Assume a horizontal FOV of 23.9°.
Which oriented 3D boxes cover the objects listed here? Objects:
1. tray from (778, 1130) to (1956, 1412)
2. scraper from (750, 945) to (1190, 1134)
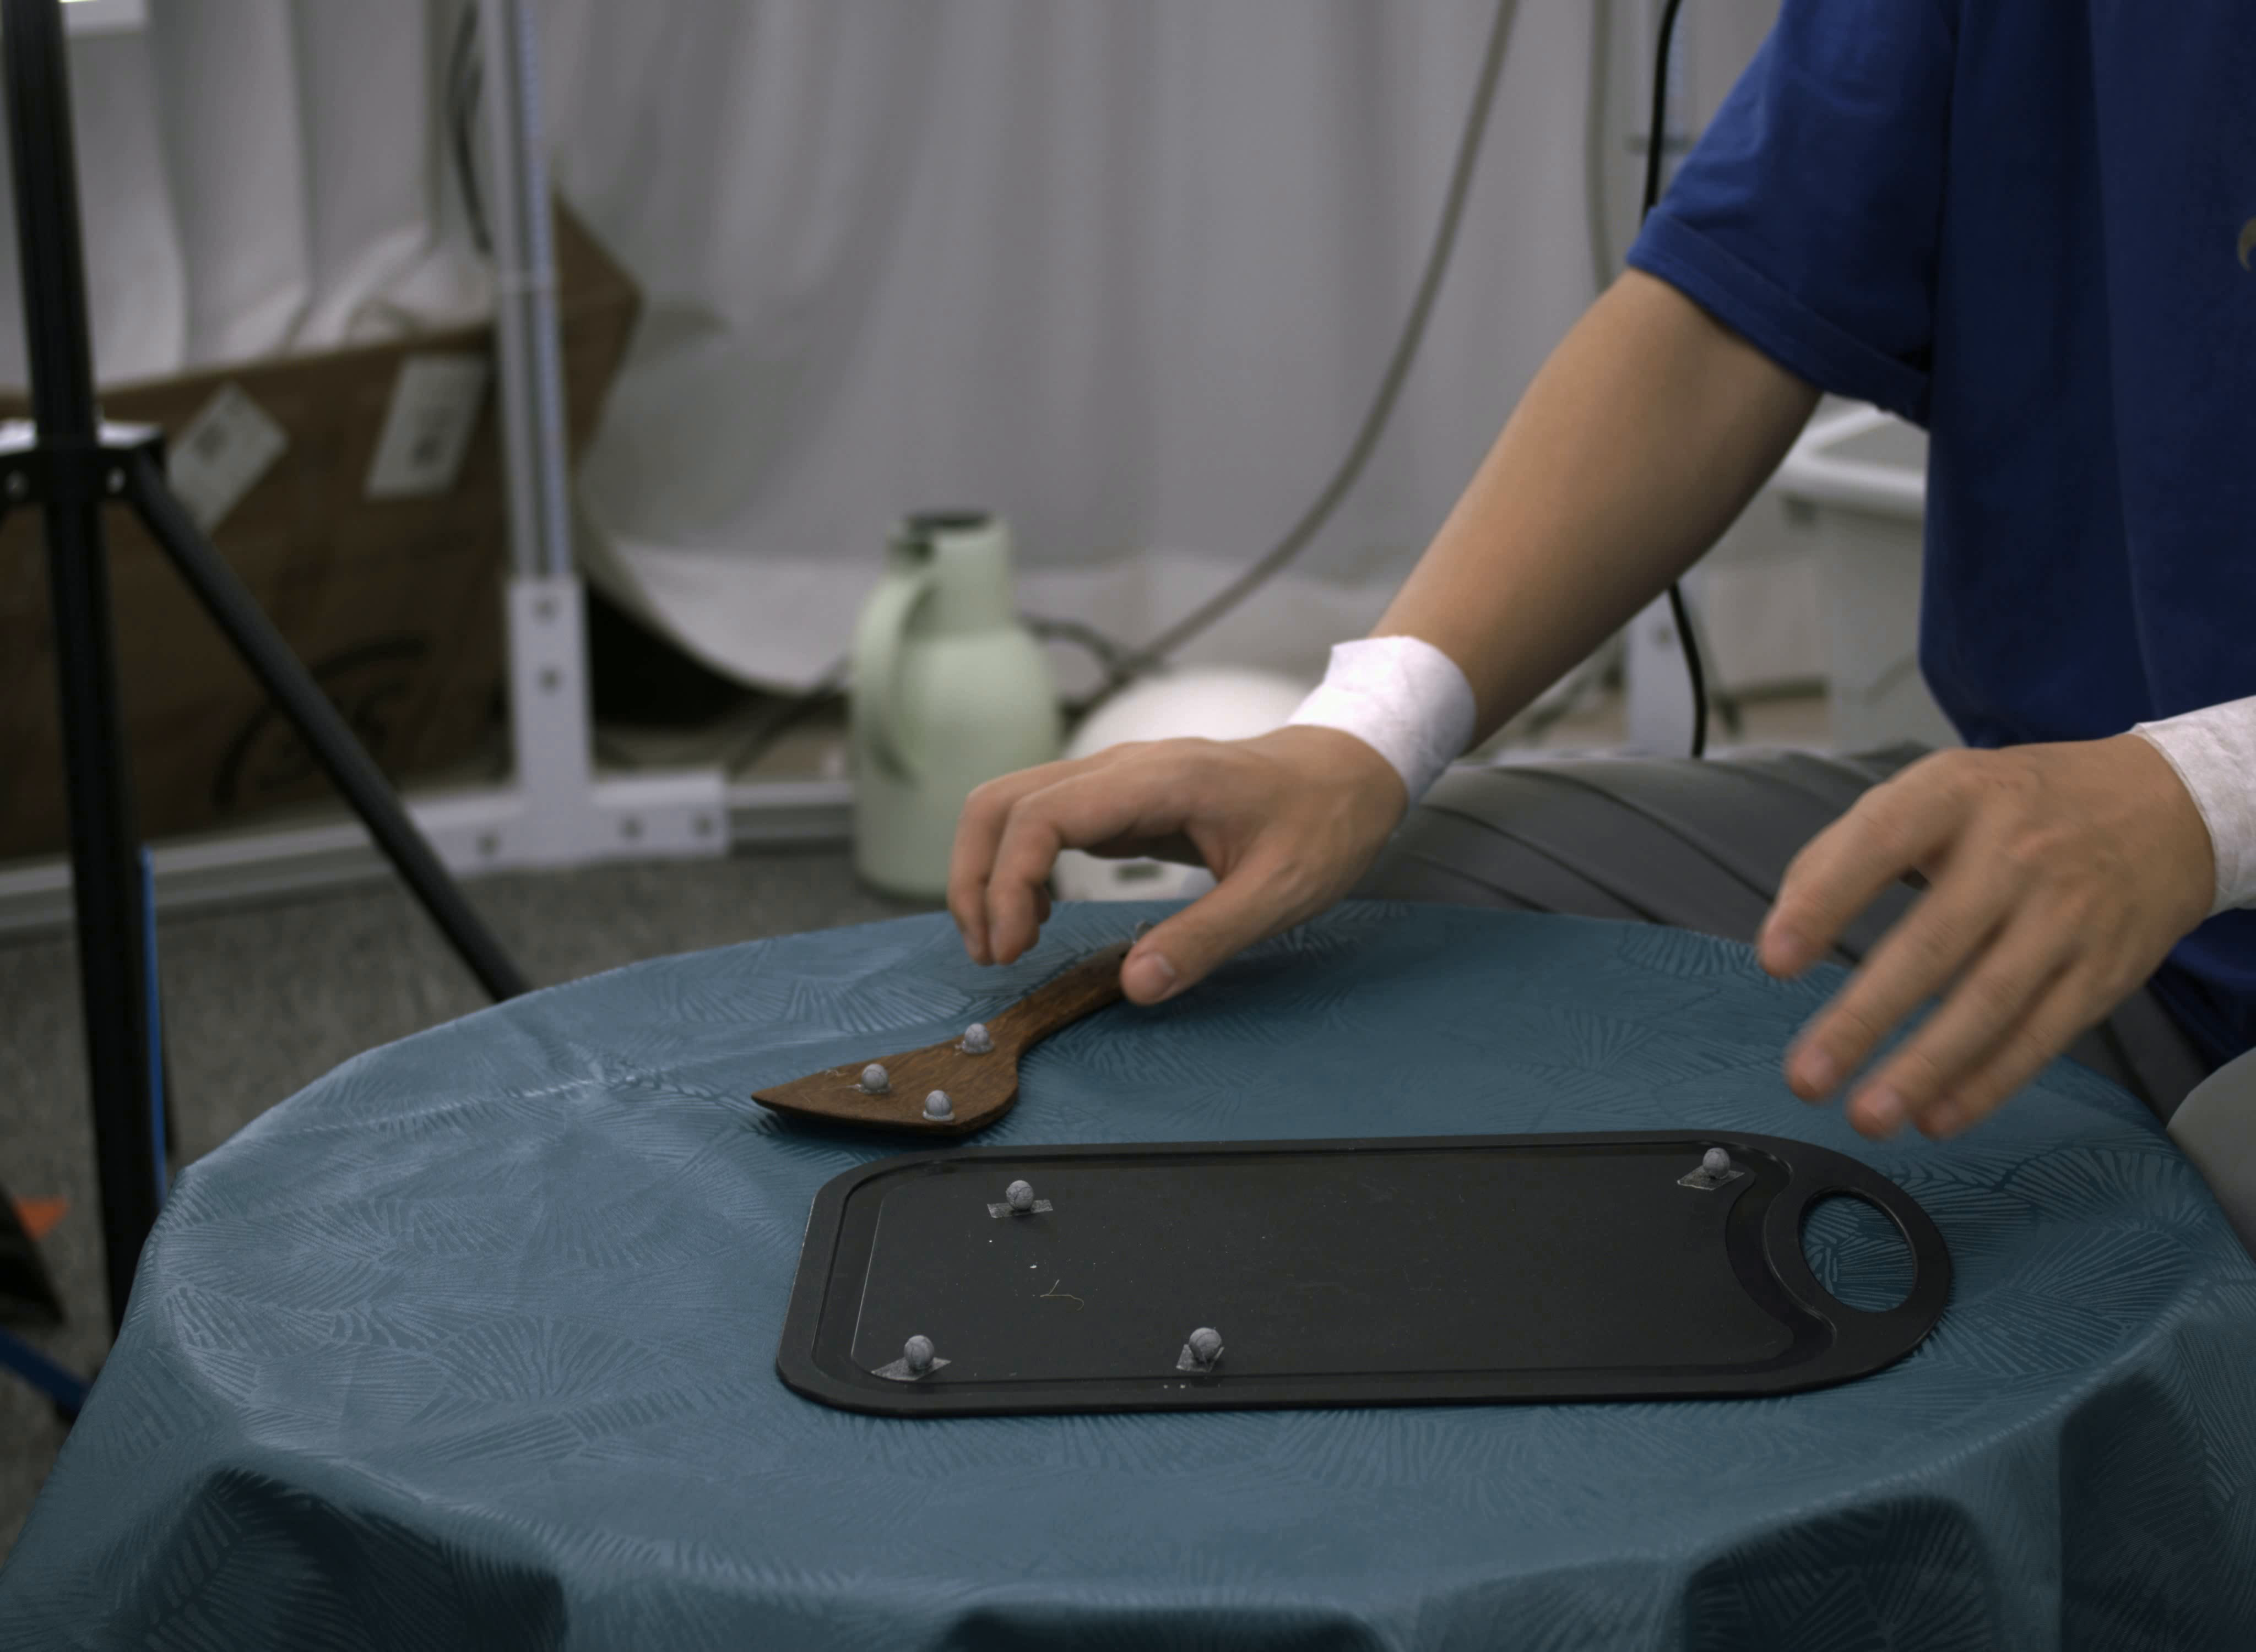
[{"bbox_3d":[0.069,0.121,1.487,0.325,0.010,0.211,-1,16,4],"label":"tray"},{"bbox_3d":[-0.038,0.067,1.698,0.077,0.011,0.207,8,17,28],"label":"scraper"}]
